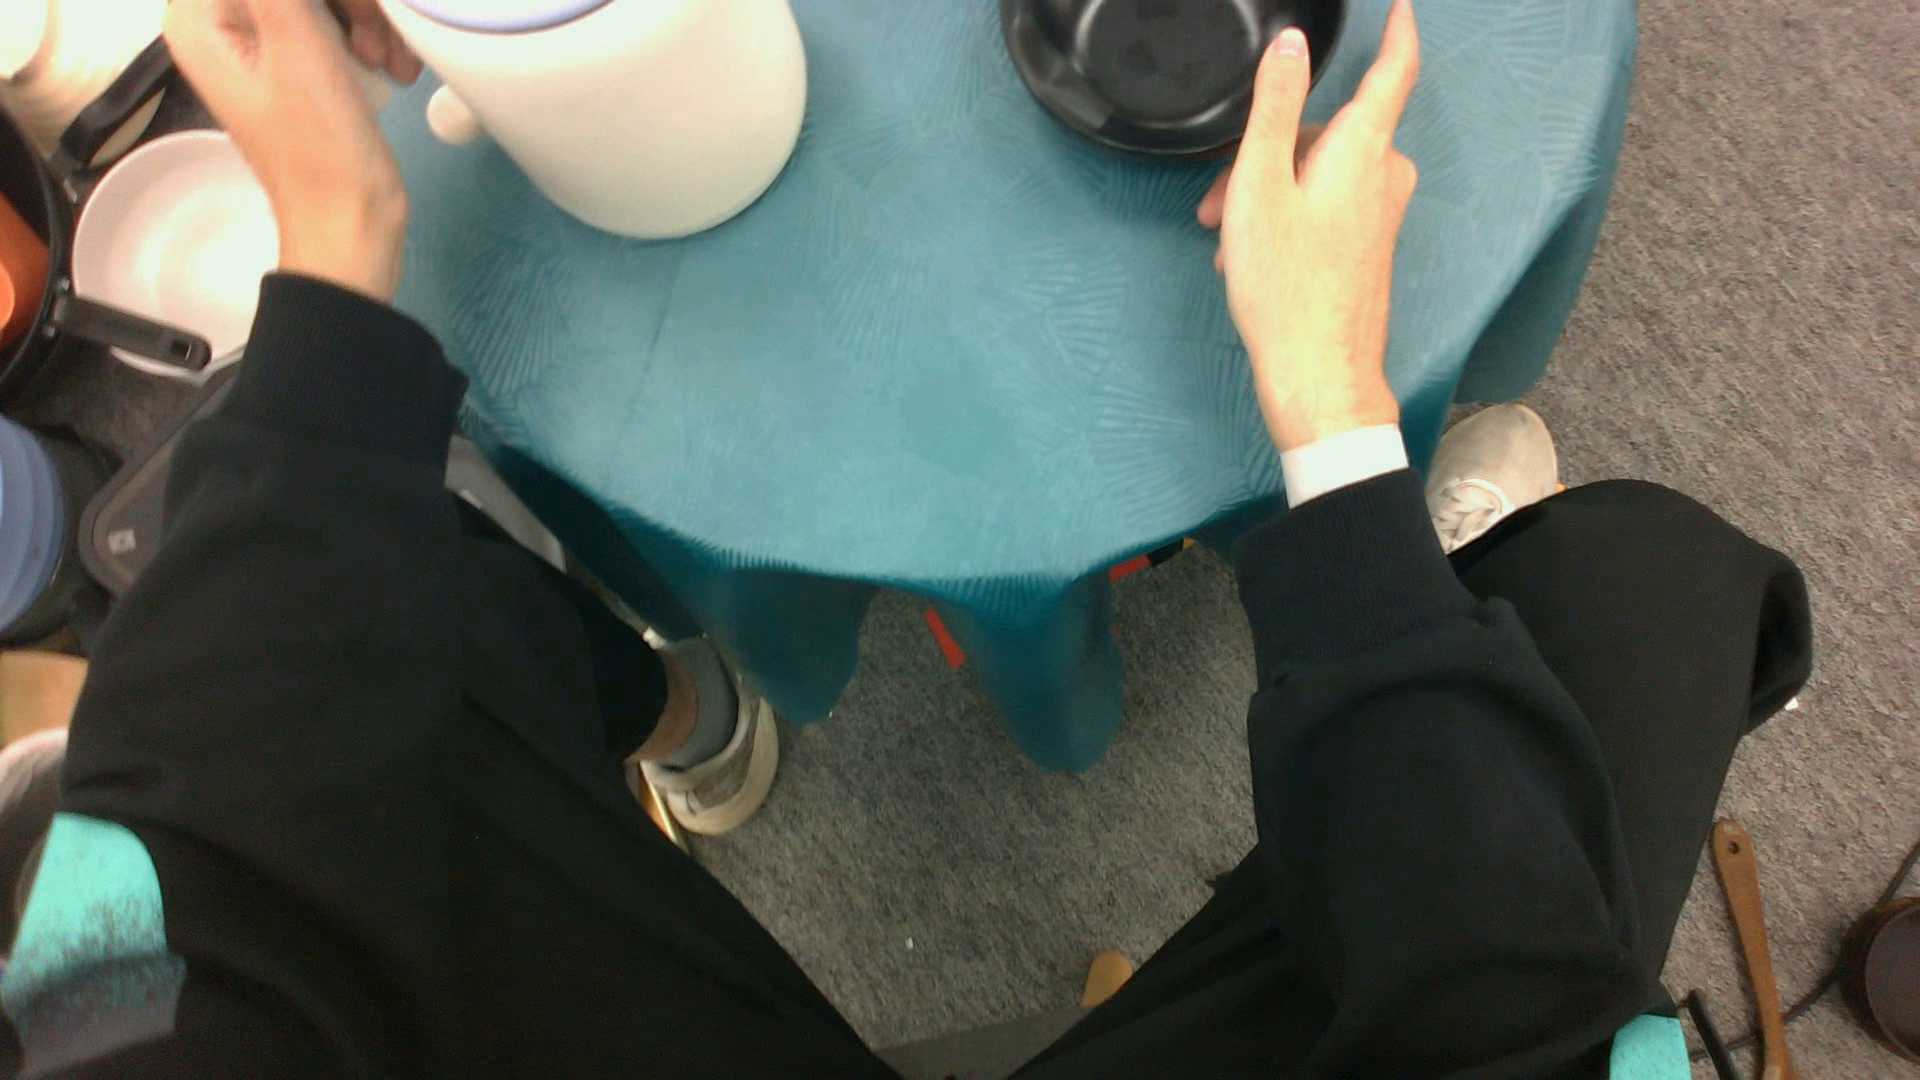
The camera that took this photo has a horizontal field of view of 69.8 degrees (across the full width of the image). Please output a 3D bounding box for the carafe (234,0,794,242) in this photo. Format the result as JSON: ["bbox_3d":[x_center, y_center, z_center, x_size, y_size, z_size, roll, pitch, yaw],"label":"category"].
[{"bbox_3d":[-0.166,-0.199,0.527,0.191,0.182,0.132,-14,79,4],"label":"carafe"}]

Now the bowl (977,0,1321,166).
[{"bbox_3d":[0.077,-0.217,0.577,0.140,0.050,0.140,0,83,2],"label":"bowl"}]
